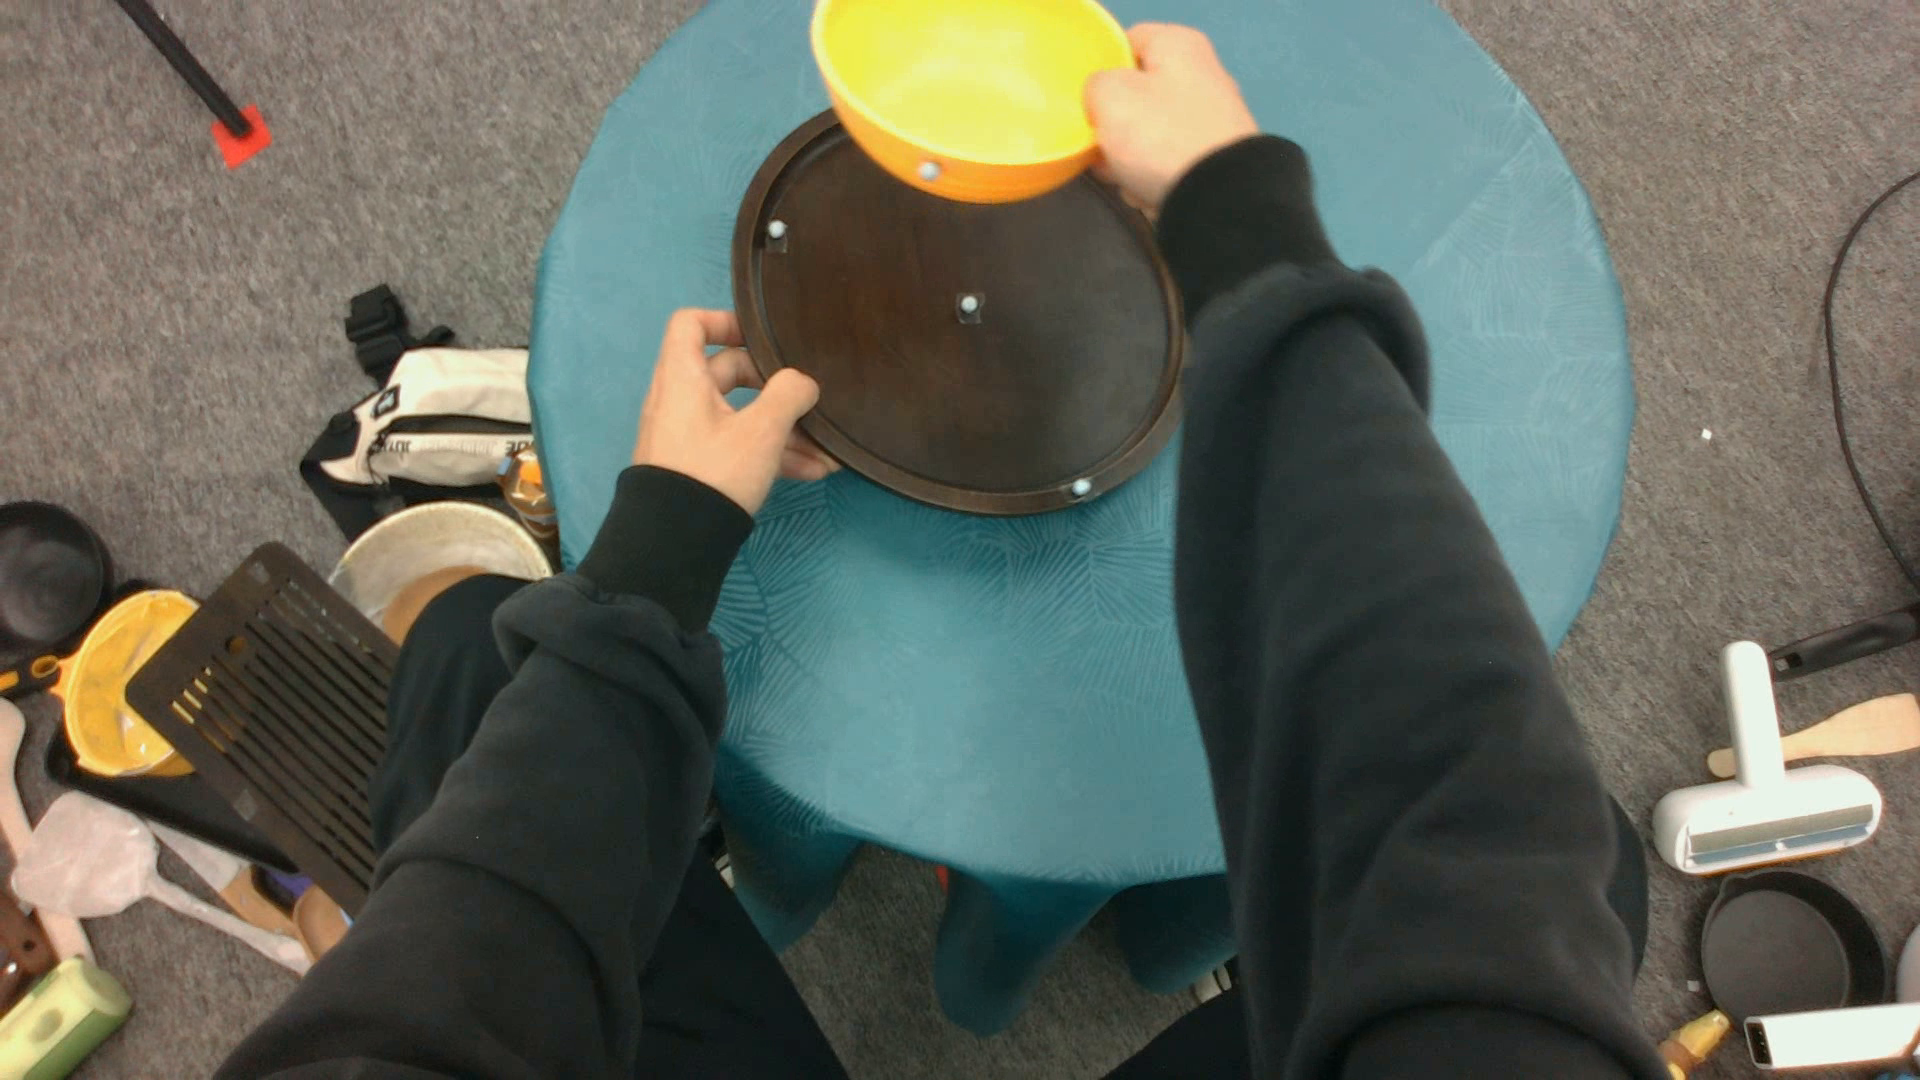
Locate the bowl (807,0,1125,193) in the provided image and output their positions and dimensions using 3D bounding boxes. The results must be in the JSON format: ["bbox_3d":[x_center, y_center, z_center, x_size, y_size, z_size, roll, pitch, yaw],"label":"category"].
[{"bbox_3d":[-0.001,-0.208,0.637,0.145,0.060,0.146,5,59,-9],"label":"bowl"}]

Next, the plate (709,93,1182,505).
[{"bbox_3d":[-0.004,-0.132,0.715,0.255,0.029,0.255,7,66,-17],"label":"plate"}]
